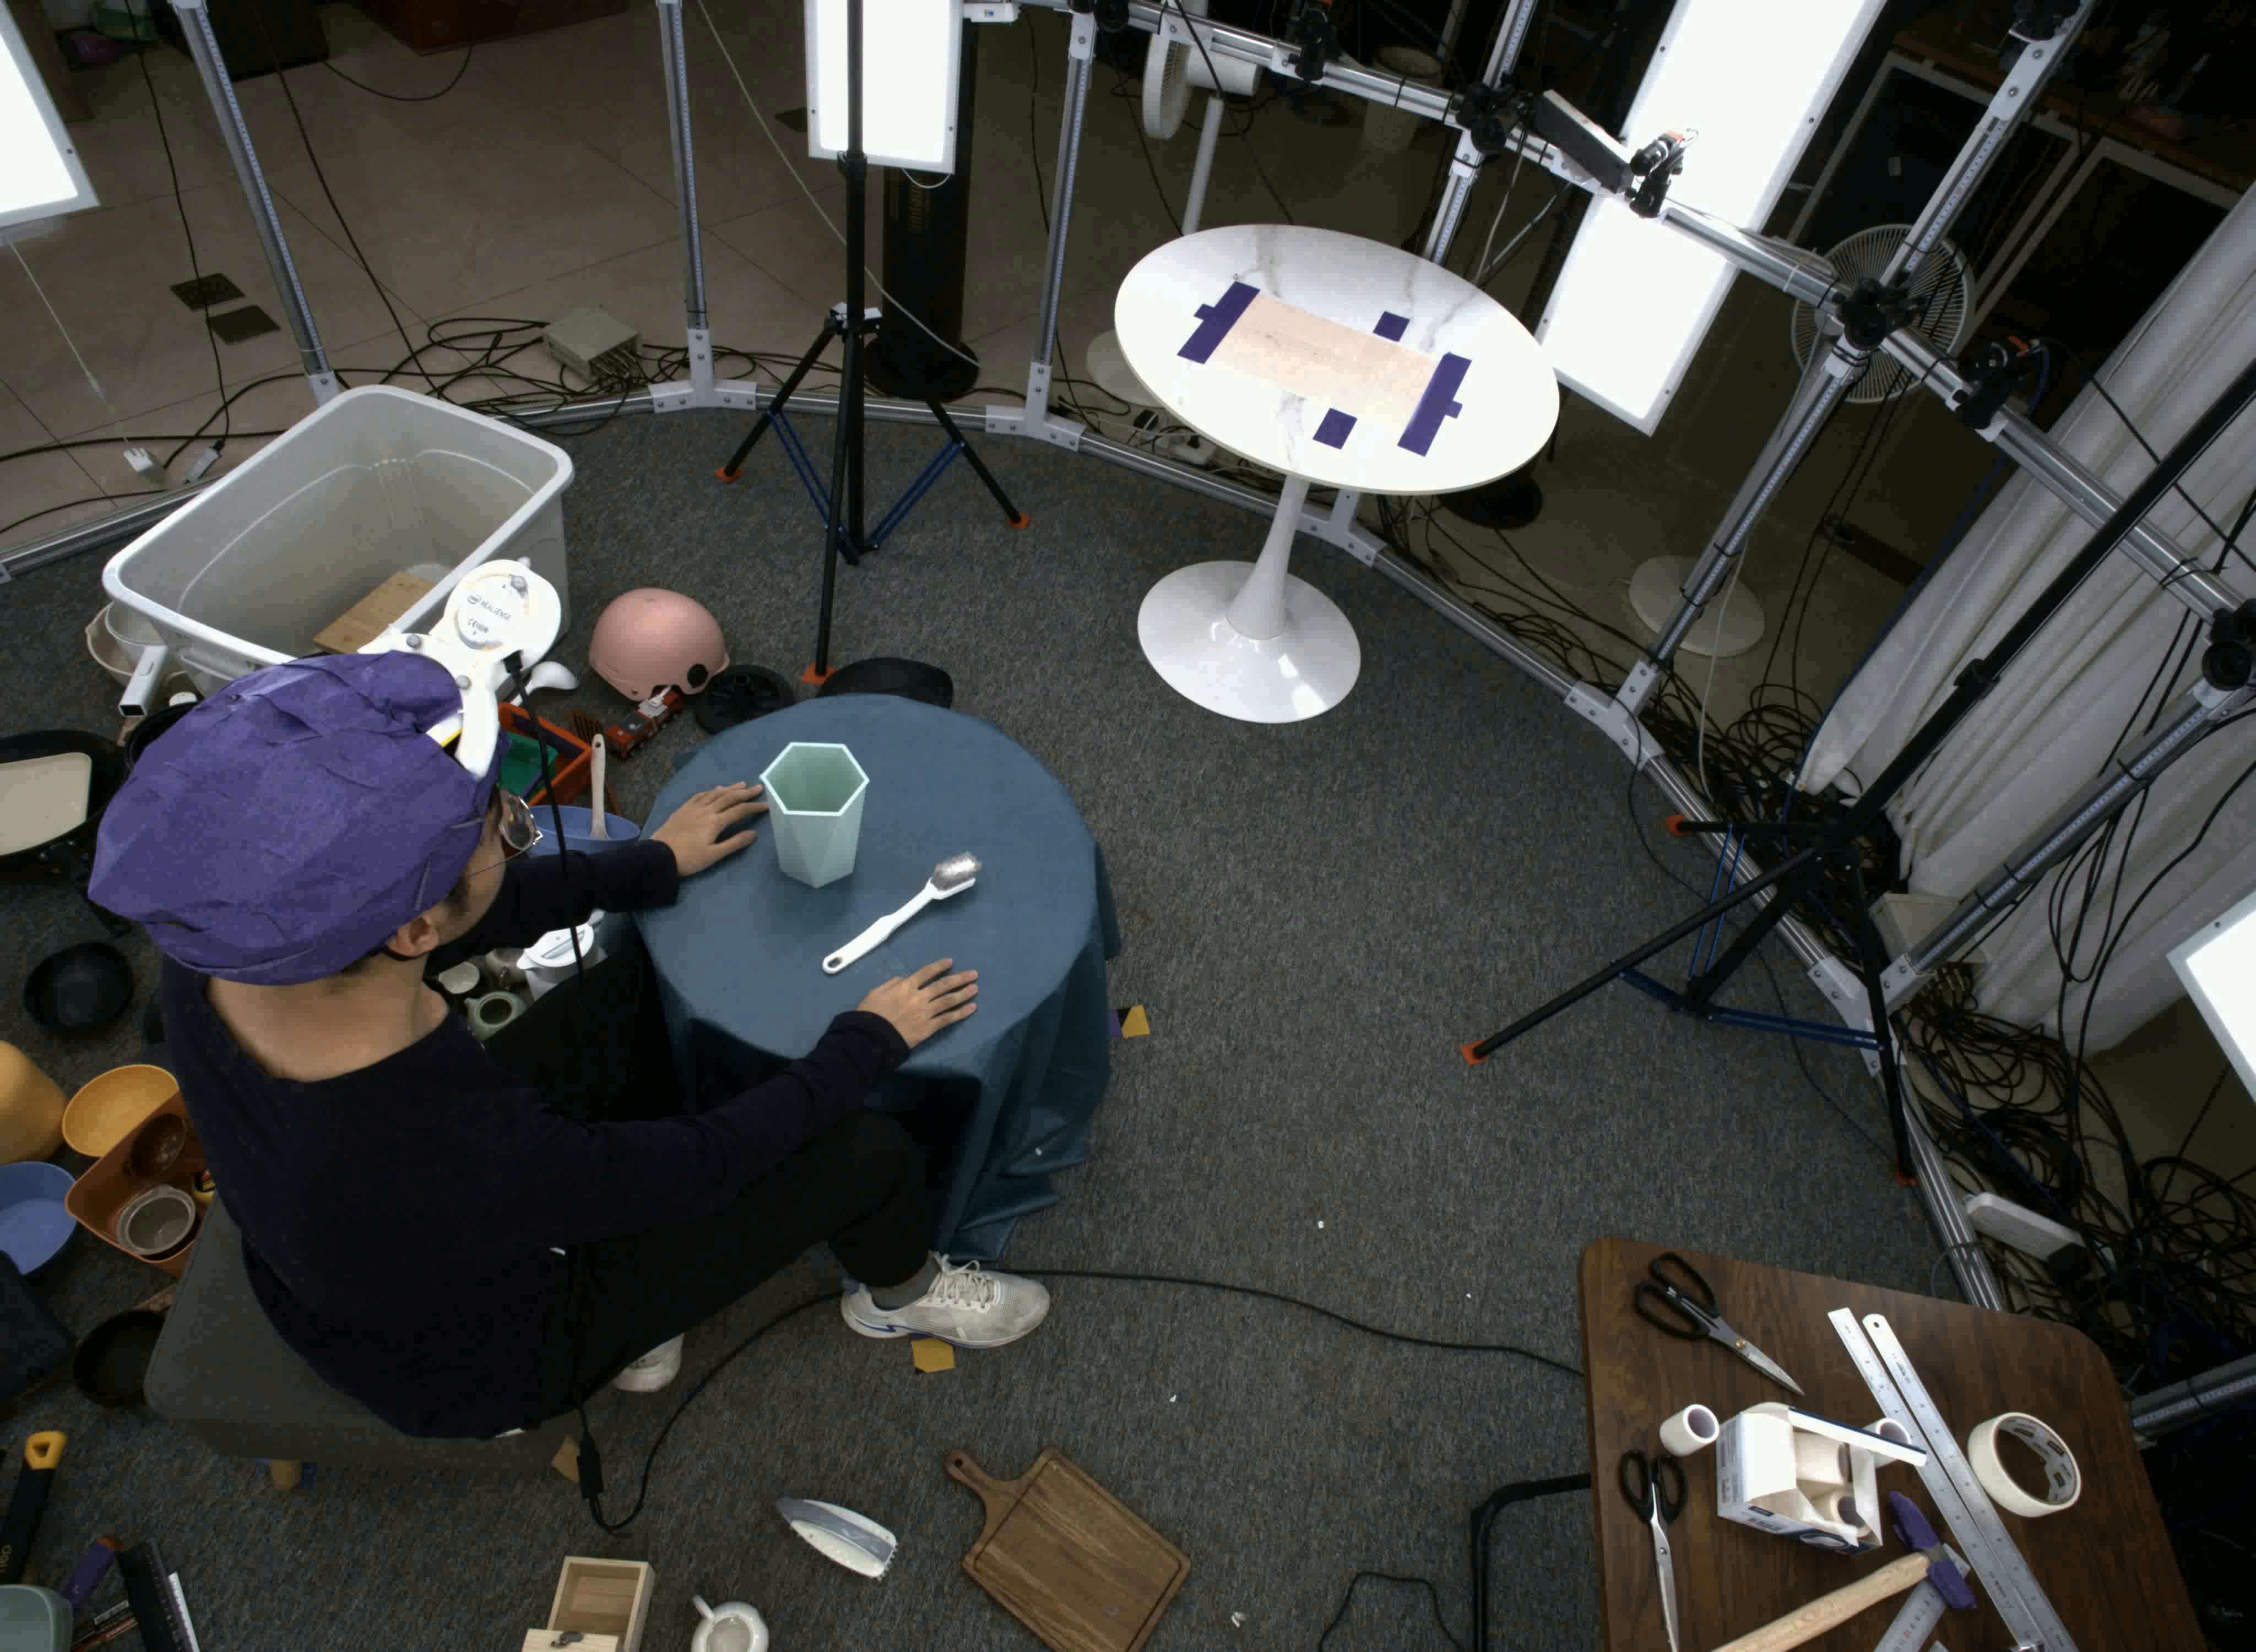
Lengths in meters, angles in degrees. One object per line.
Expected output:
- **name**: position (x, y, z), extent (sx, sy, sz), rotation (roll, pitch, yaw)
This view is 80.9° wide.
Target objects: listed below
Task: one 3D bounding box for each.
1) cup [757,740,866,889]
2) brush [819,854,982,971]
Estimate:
- **cup**: position (-0.395, -0.012, 1.637), extent (0.131, 0.166, 0.113), rotation (-1, 54, -12)
- **brush**: position (-0.288, 0.105, 1.651), extent (0.244, 0.051, 0.034), rotation (-32, 69, -31)
